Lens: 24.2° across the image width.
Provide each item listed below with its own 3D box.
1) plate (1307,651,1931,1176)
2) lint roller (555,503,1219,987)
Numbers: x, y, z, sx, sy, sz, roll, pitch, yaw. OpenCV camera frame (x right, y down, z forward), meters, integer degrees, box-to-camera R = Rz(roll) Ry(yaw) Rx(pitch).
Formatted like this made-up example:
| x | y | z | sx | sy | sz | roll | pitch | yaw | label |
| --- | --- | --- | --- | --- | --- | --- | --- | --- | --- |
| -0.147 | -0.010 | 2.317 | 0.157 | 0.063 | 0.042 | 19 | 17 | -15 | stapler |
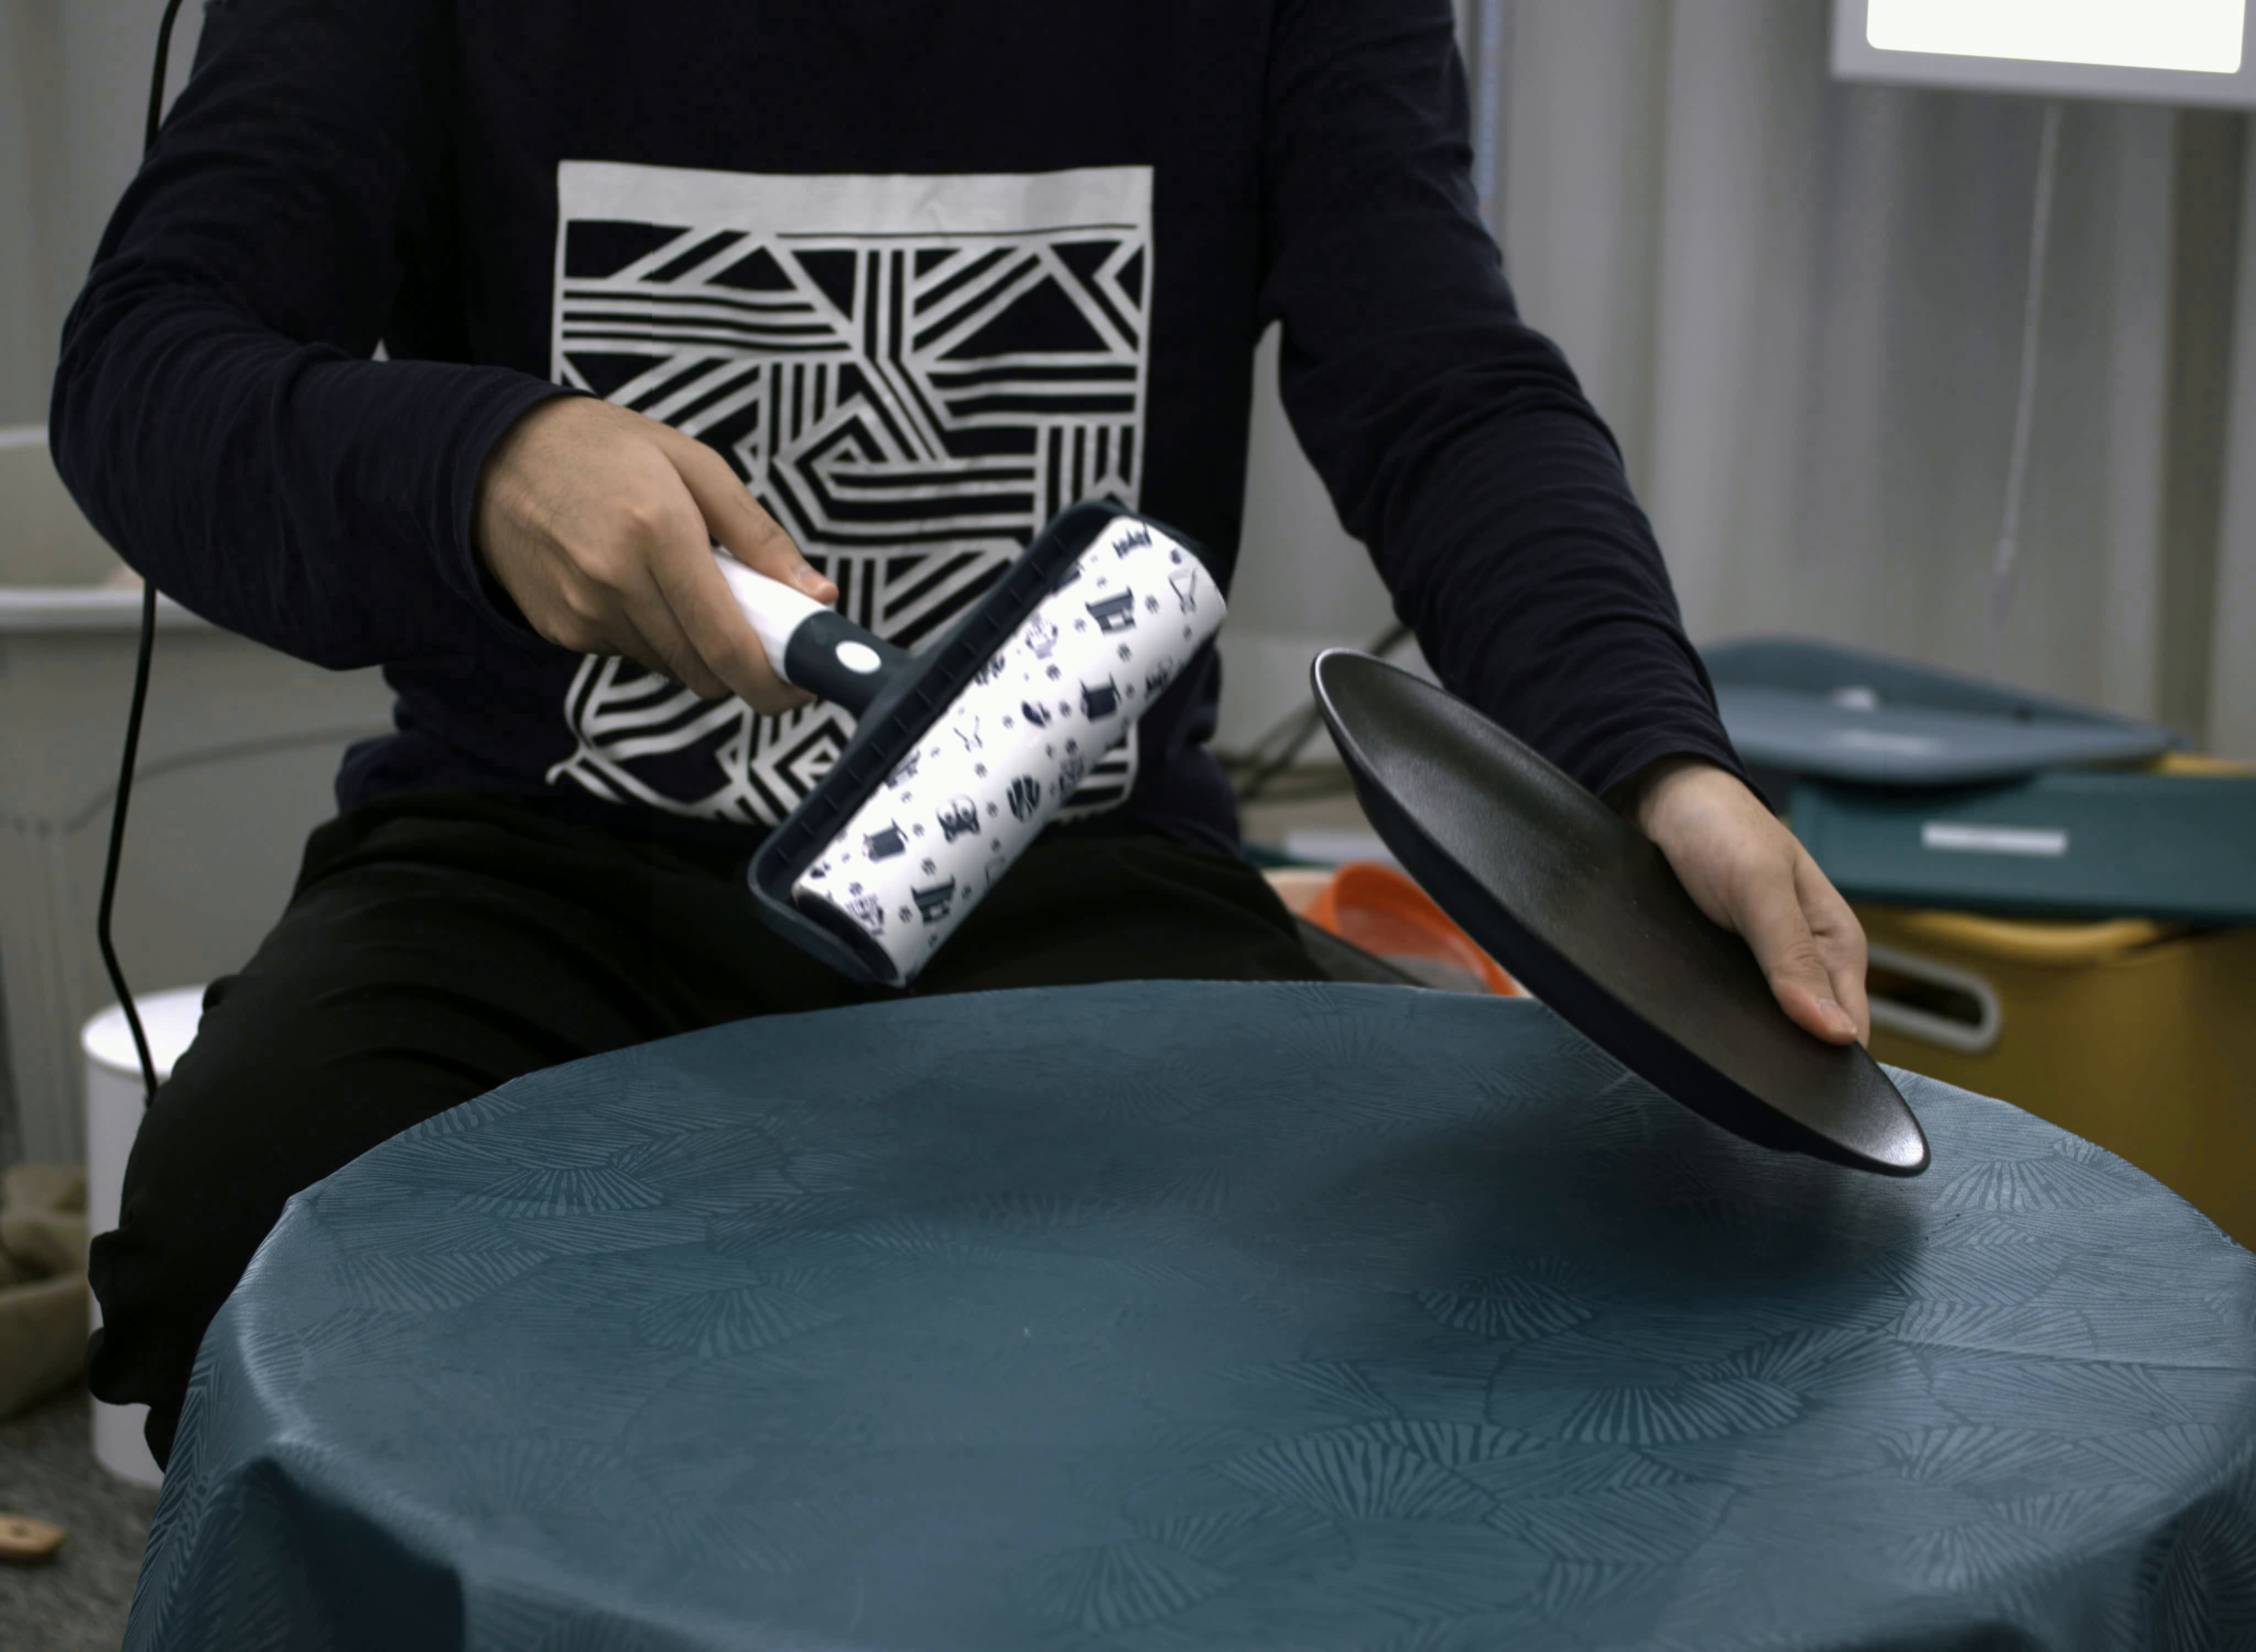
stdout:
| x | y | z | sx | sy | sz | roll | pitch | yaw | label |
| --- | --- | --- | --- | --- | --- | --- | --- | --- | --- |
| 0.145 | 0.032 | 1.615 | 0.245 | 0.023 | 0.243 | 37 | 14 | -10 | plate |
| -0.108 | -0.059 | 1.703 | 0.243 | 0.051 | 0.176 | 27 | 70 | 36 | lint roller |
